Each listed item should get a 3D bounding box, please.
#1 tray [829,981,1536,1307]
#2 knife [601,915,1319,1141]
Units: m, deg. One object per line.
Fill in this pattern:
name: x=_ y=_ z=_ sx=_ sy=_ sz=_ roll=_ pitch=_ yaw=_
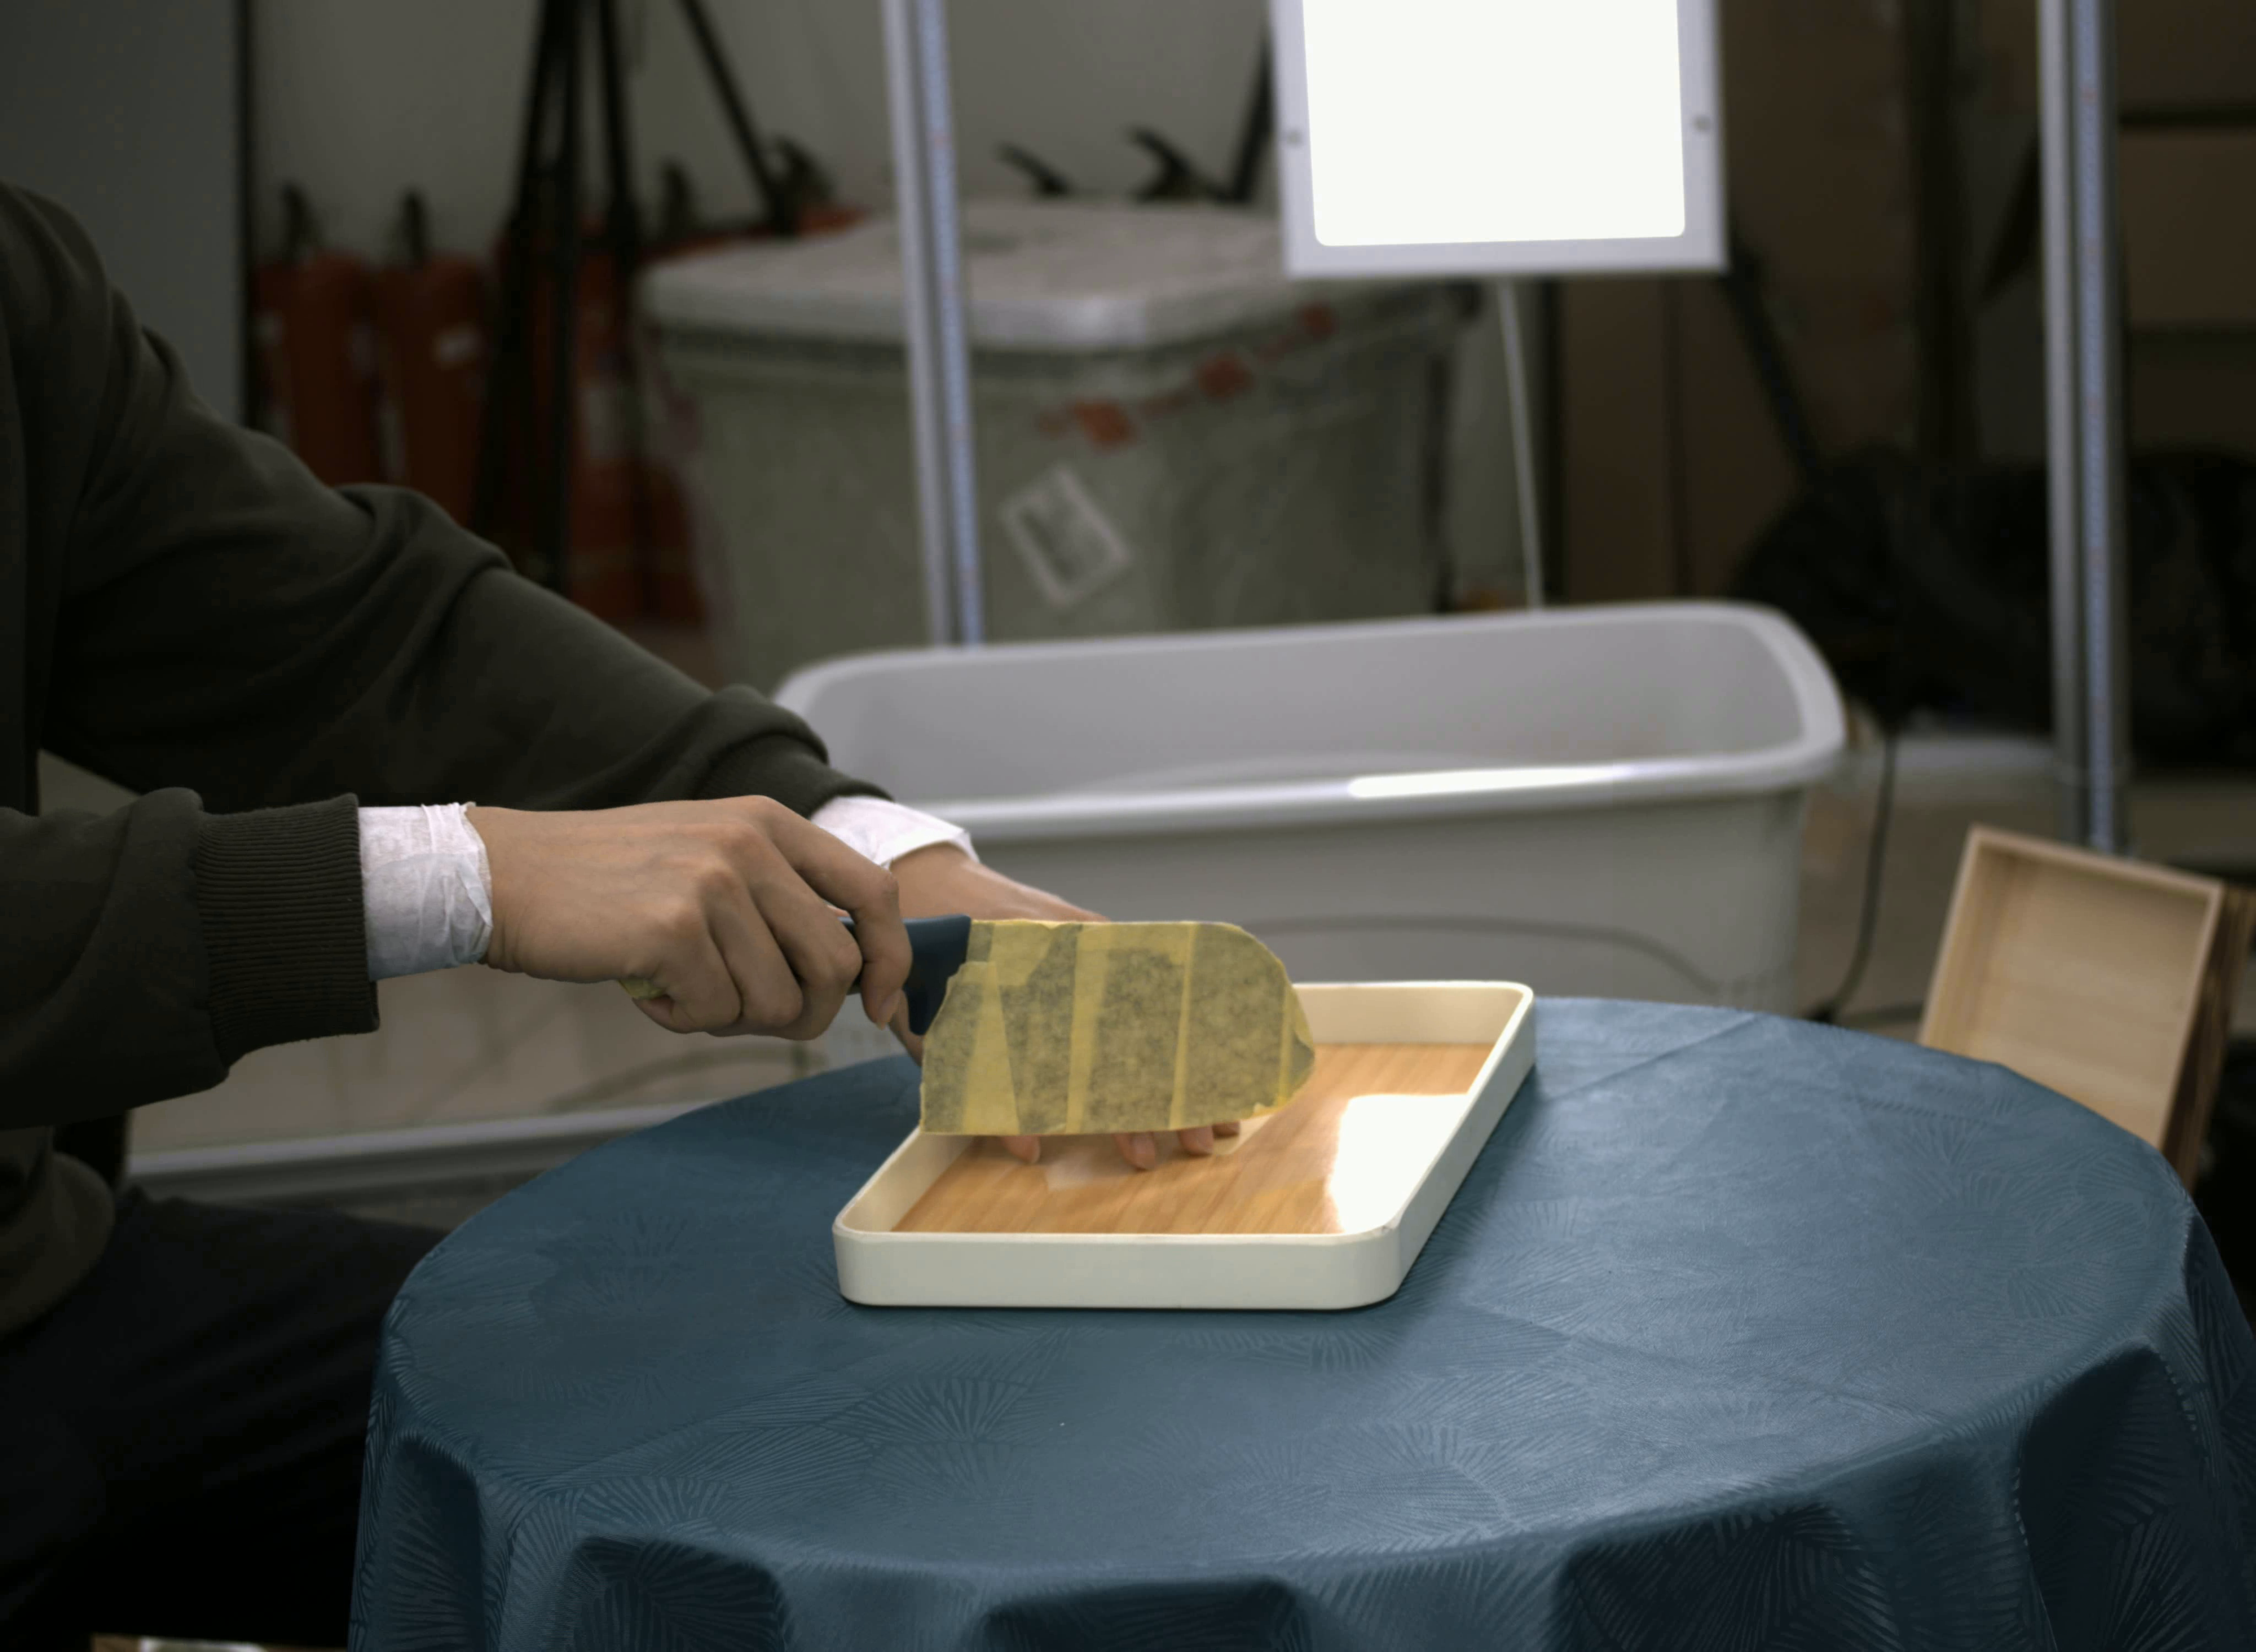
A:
tray: x=0.026 y=0.108 z=1.915 sx=0.193 sy=0.027 sz=0.296 roll=-2 pitch=14 yaw=16
knife: x=-0.050 y=0.065 z=1.833 sx=0.282 sy=0.081 sz=0.028 roll=5 pitch=2 yaw=-34
